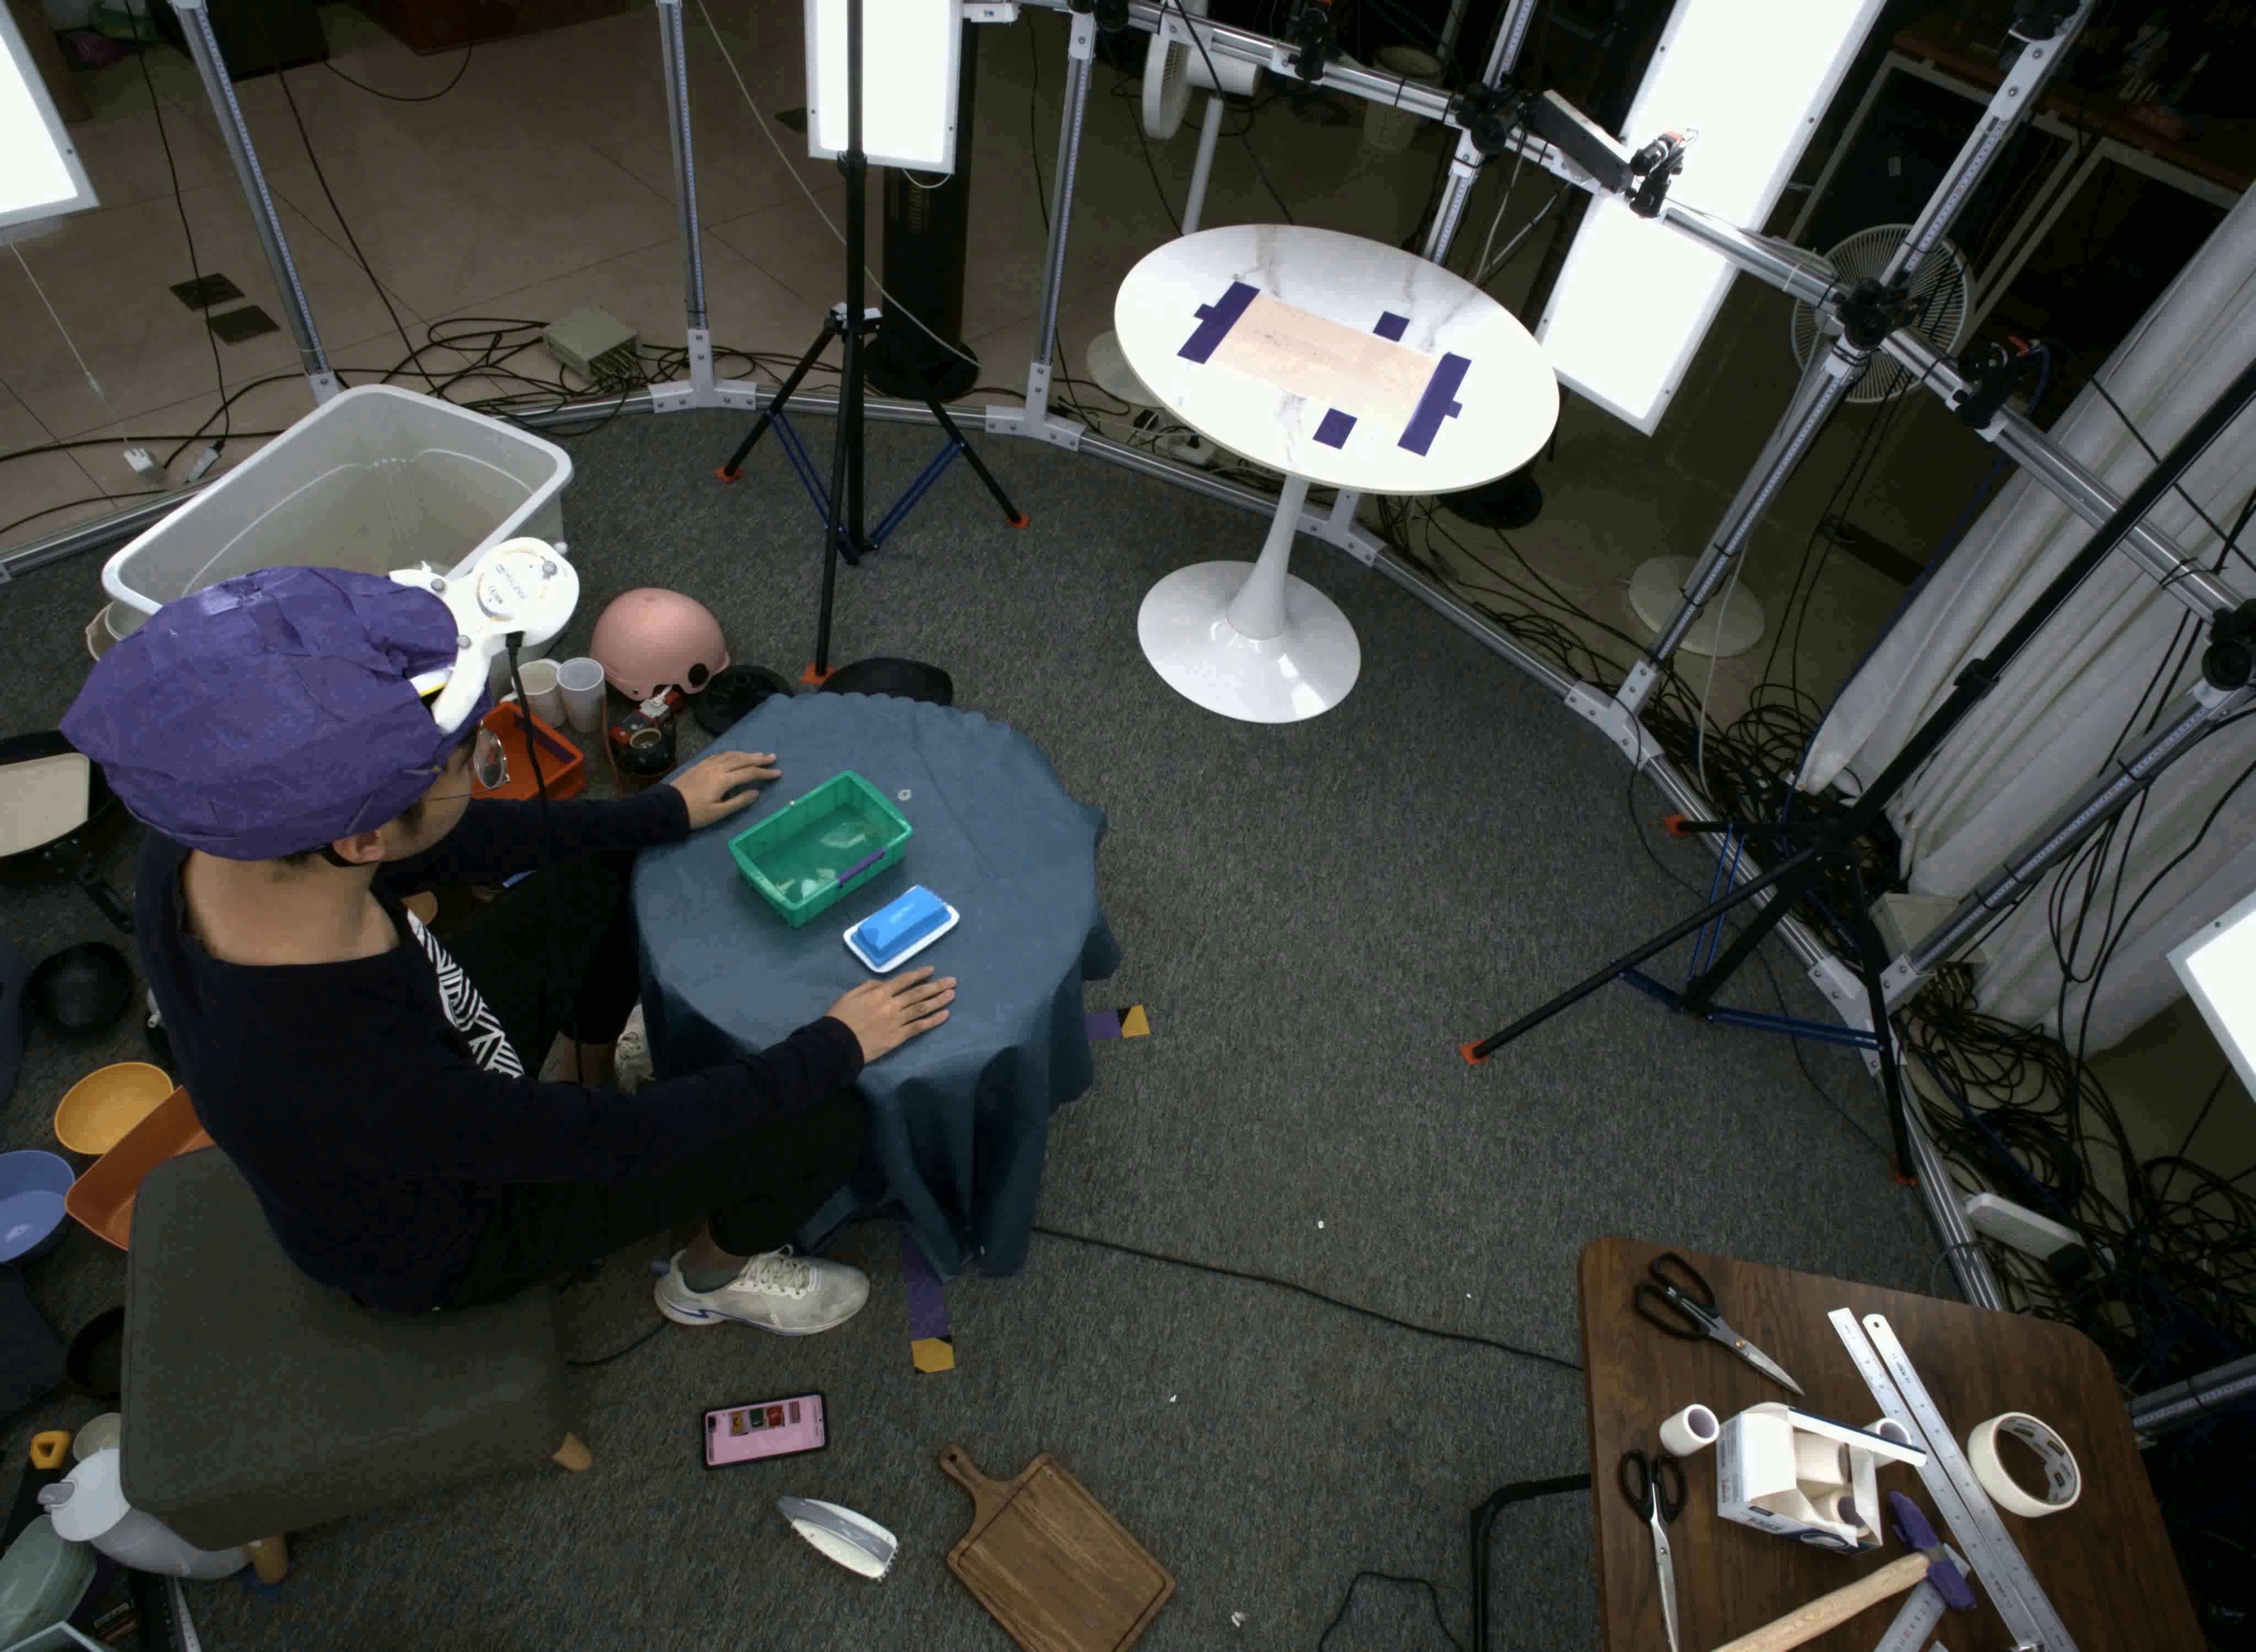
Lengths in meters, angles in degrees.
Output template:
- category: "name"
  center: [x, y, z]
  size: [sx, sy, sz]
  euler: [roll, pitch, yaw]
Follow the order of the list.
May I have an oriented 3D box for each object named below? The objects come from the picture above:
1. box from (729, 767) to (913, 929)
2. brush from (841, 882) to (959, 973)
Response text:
- category: "box"
  center: [-0.393, 0.029, 1.672]
  size: [0.136, 0.066, 0.211]
  euler: [41, 55, 15]
- category: "brush"
  center: [-0.285, 0.118, 1.629]
  size: [0.082, 0.057, 0.144]
  euler: [42, 50, 21]
